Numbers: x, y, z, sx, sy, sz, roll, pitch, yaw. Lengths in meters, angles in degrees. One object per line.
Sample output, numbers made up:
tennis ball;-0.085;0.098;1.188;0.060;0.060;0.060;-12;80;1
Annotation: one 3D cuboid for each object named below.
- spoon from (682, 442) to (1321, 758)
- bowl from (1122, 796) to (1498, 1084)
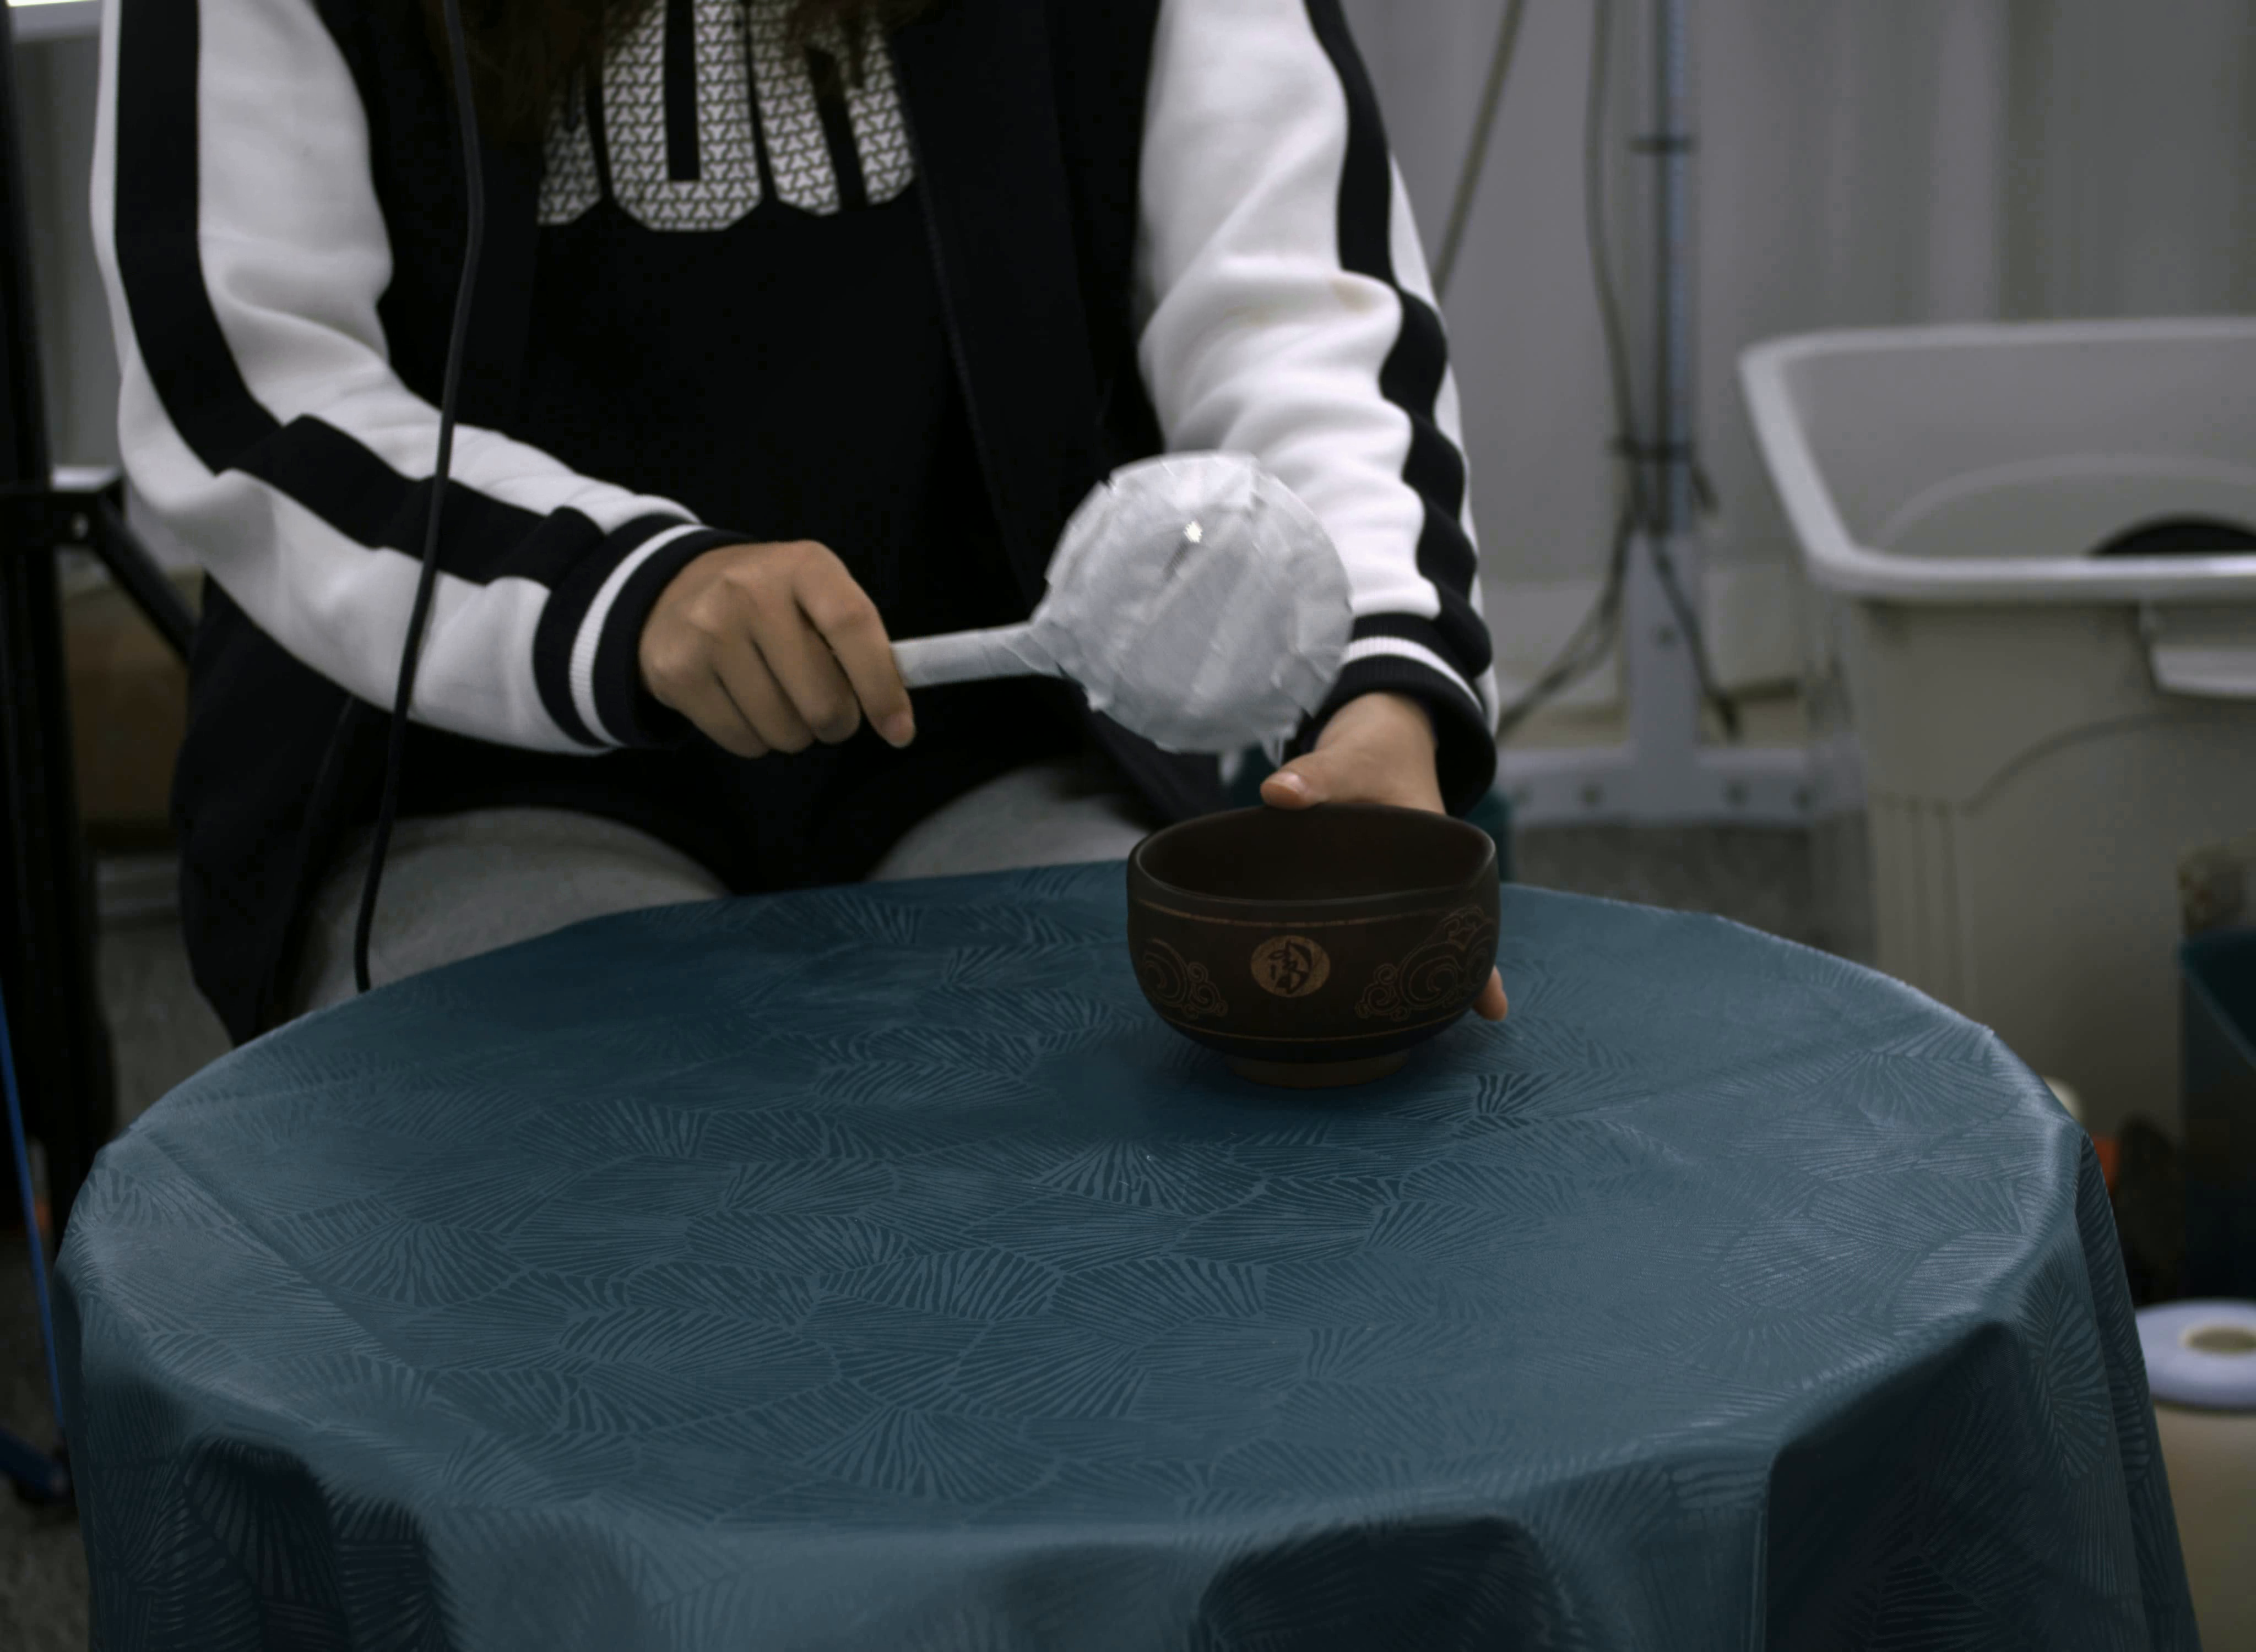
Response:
spoon;-0.045;-0.056;1.689;0.058;0.101;0.283;-23;7;-35
bowl;0.057;0.039;1.658;0.117;0.070;0.118;-2;15;-1
